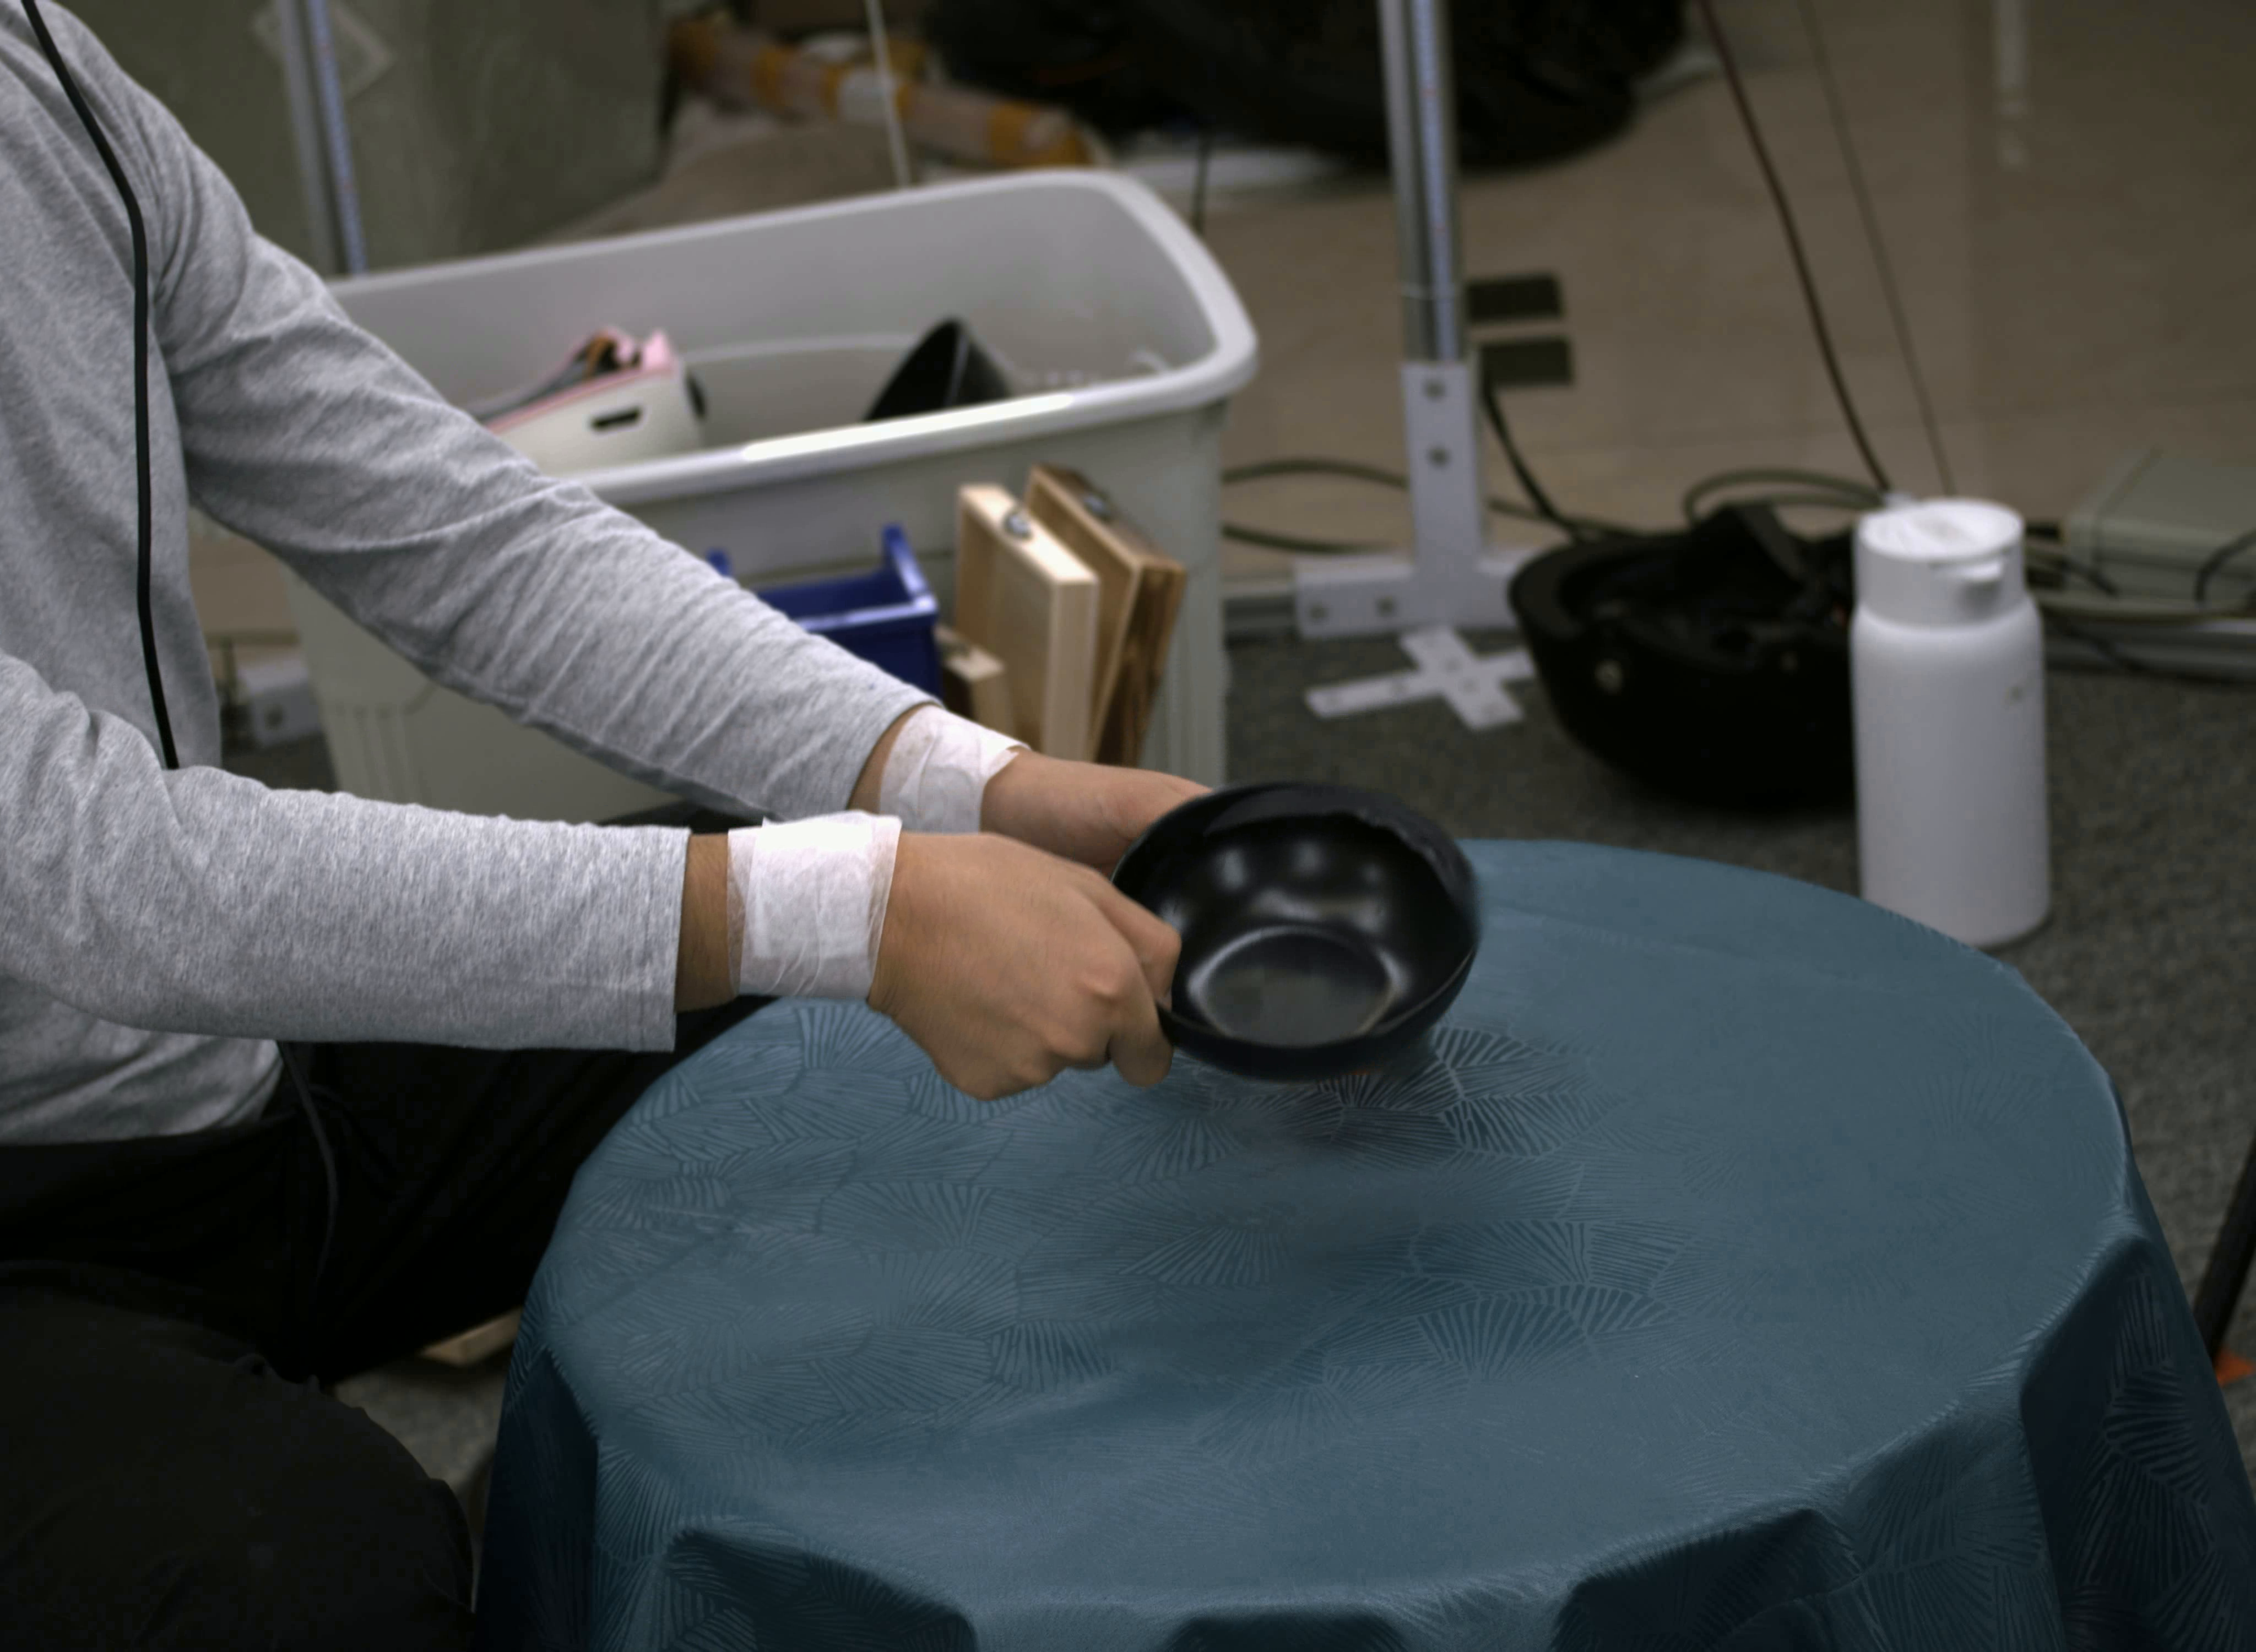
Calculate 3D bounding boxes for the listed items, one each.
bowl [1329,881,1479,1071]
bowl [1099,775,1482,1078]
[{"bbox_3d":[0.082,0.057,2.212,0.119,0.052,0.117,-5,28,3],"label":"bowl"},{"bbox_3d":[0.061,0.045,2.068,0.140,0.051,0.137,-4,44,4],"label":"bowl"}]
